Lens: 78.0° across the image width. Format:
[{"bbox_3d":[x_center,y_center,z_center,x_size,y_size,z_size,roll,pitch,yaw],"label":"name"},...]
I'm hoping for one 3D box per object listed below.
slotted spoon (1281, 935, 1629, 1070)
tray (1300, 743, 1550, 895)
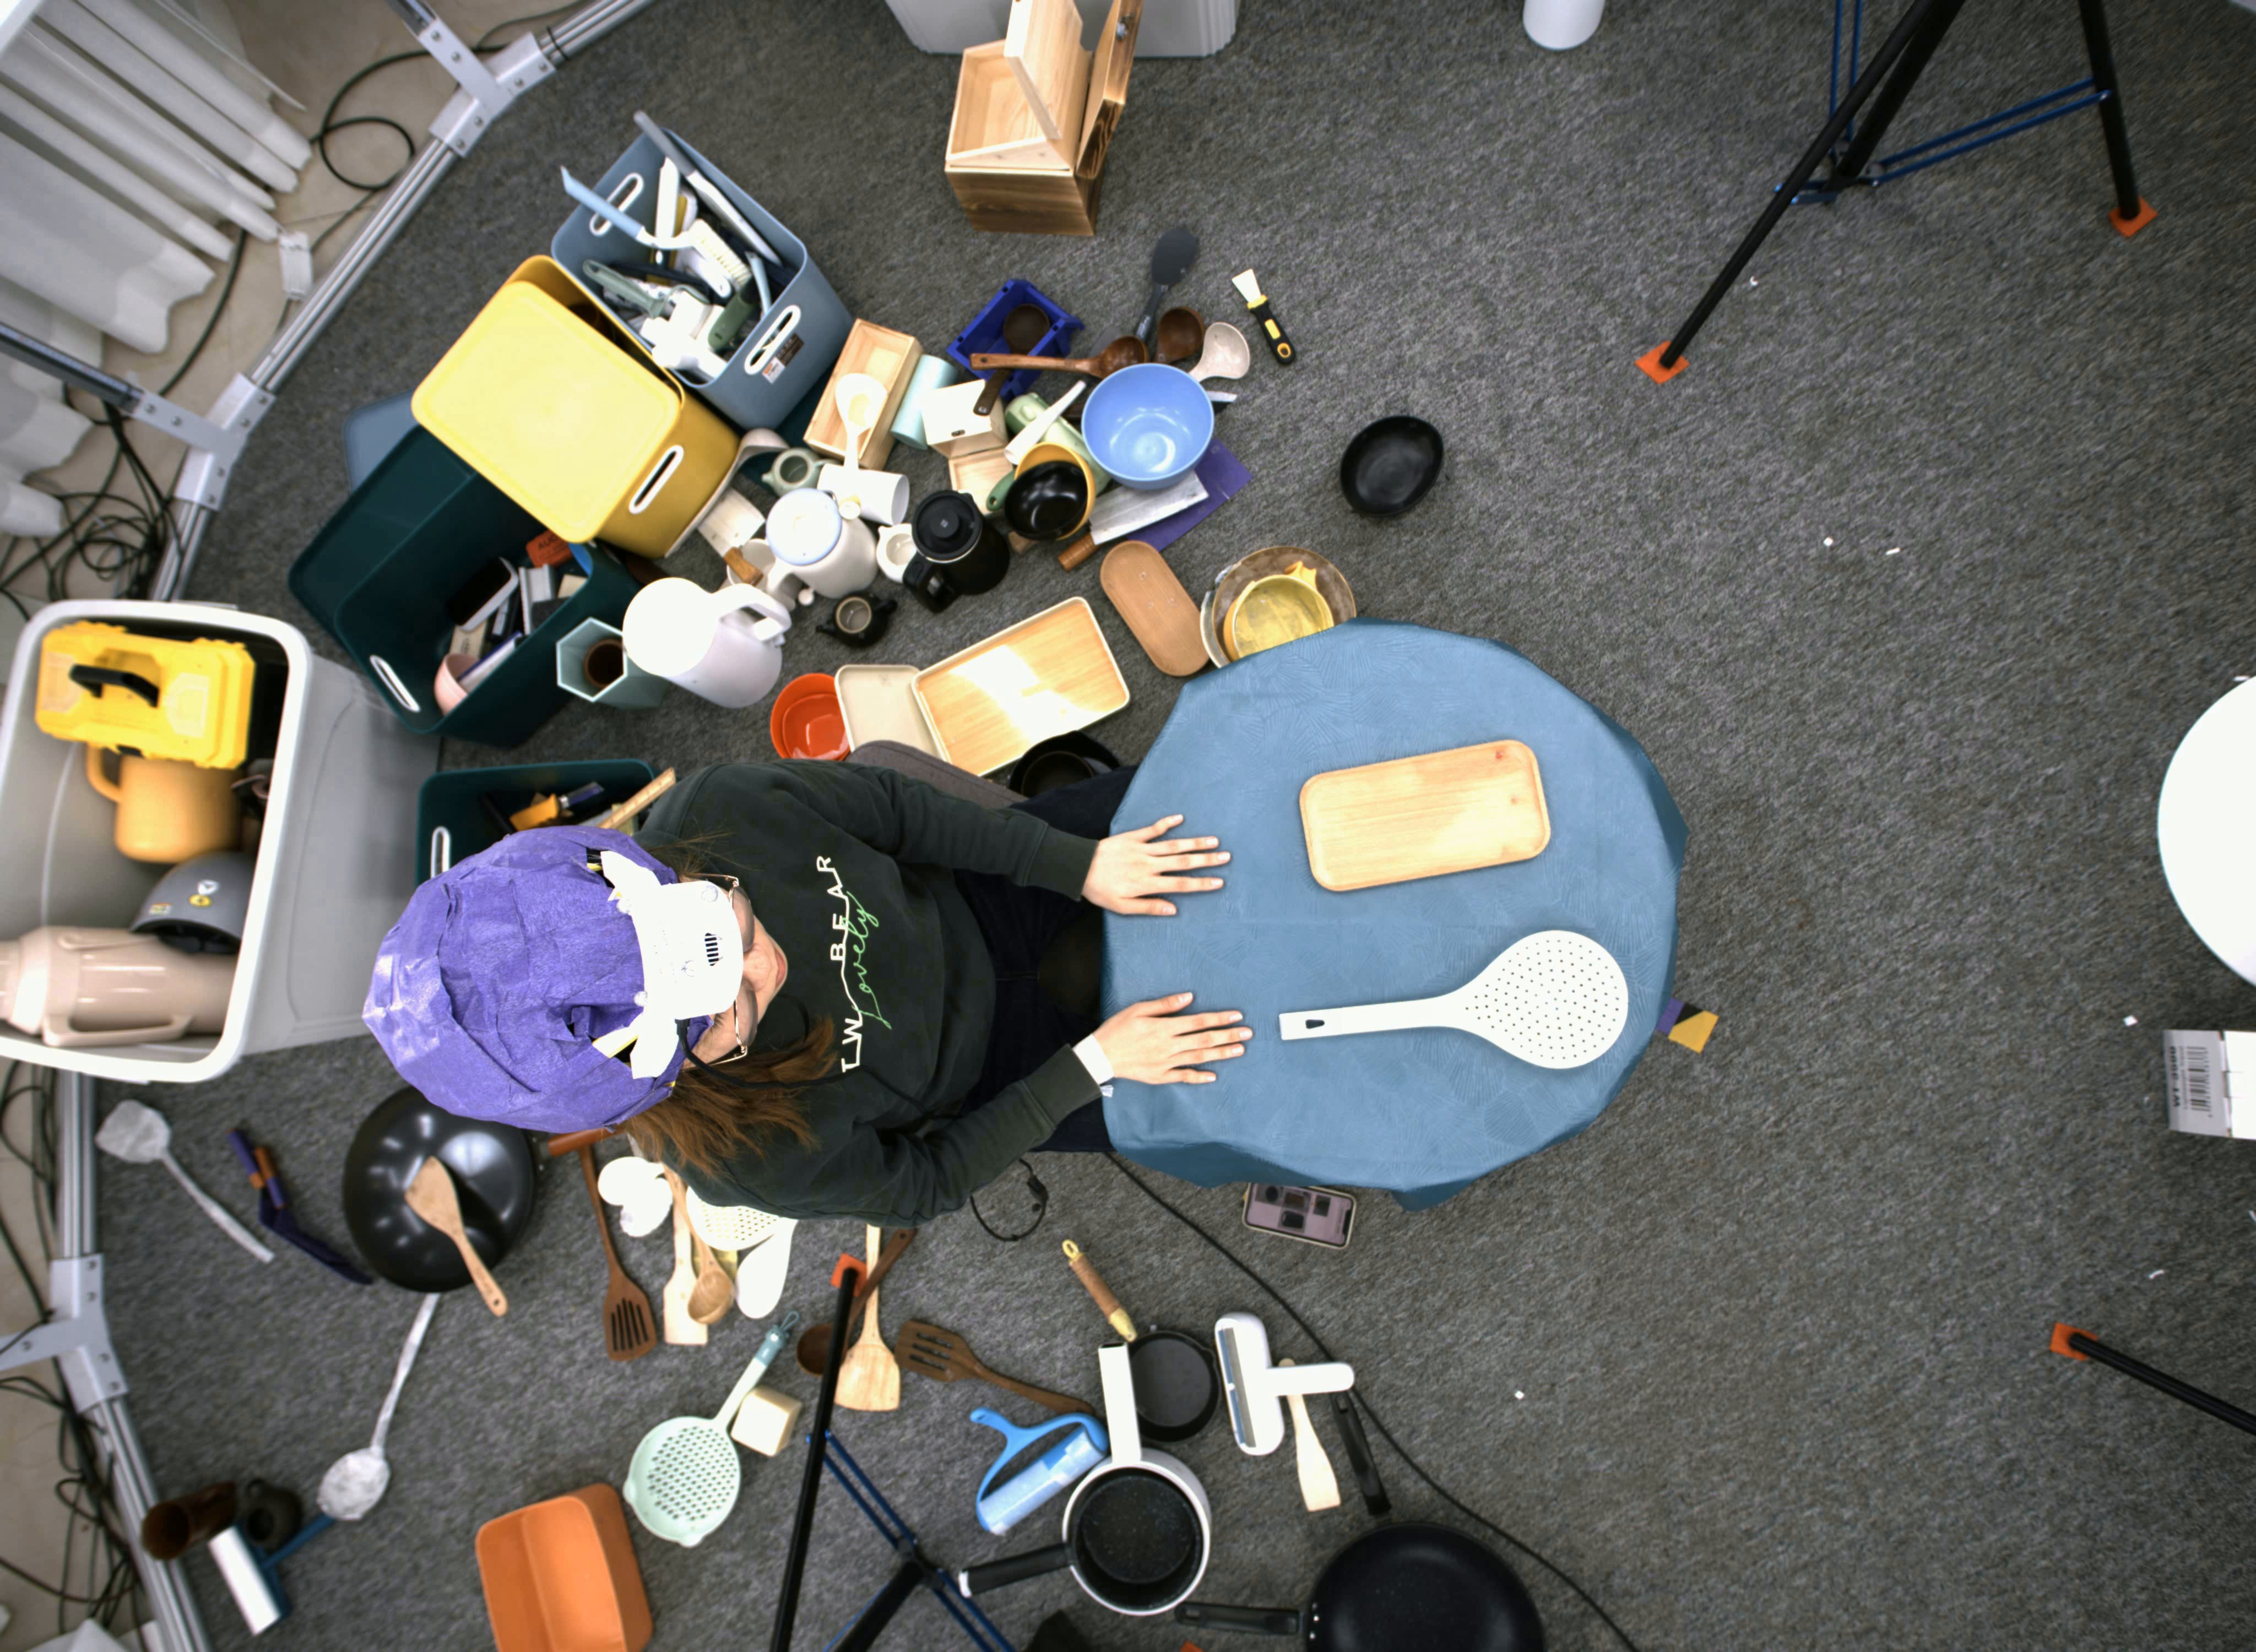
[{"bbox_3d":[0.332,0.190,1.422,0.351,0.046,0.135,-7,82,11],"label":"slotted spoon"},{"bbox_3d":[0.312,-0.009,1.454,0.252,0.023,0.129,-10,82,10],"label":"tray"}]
